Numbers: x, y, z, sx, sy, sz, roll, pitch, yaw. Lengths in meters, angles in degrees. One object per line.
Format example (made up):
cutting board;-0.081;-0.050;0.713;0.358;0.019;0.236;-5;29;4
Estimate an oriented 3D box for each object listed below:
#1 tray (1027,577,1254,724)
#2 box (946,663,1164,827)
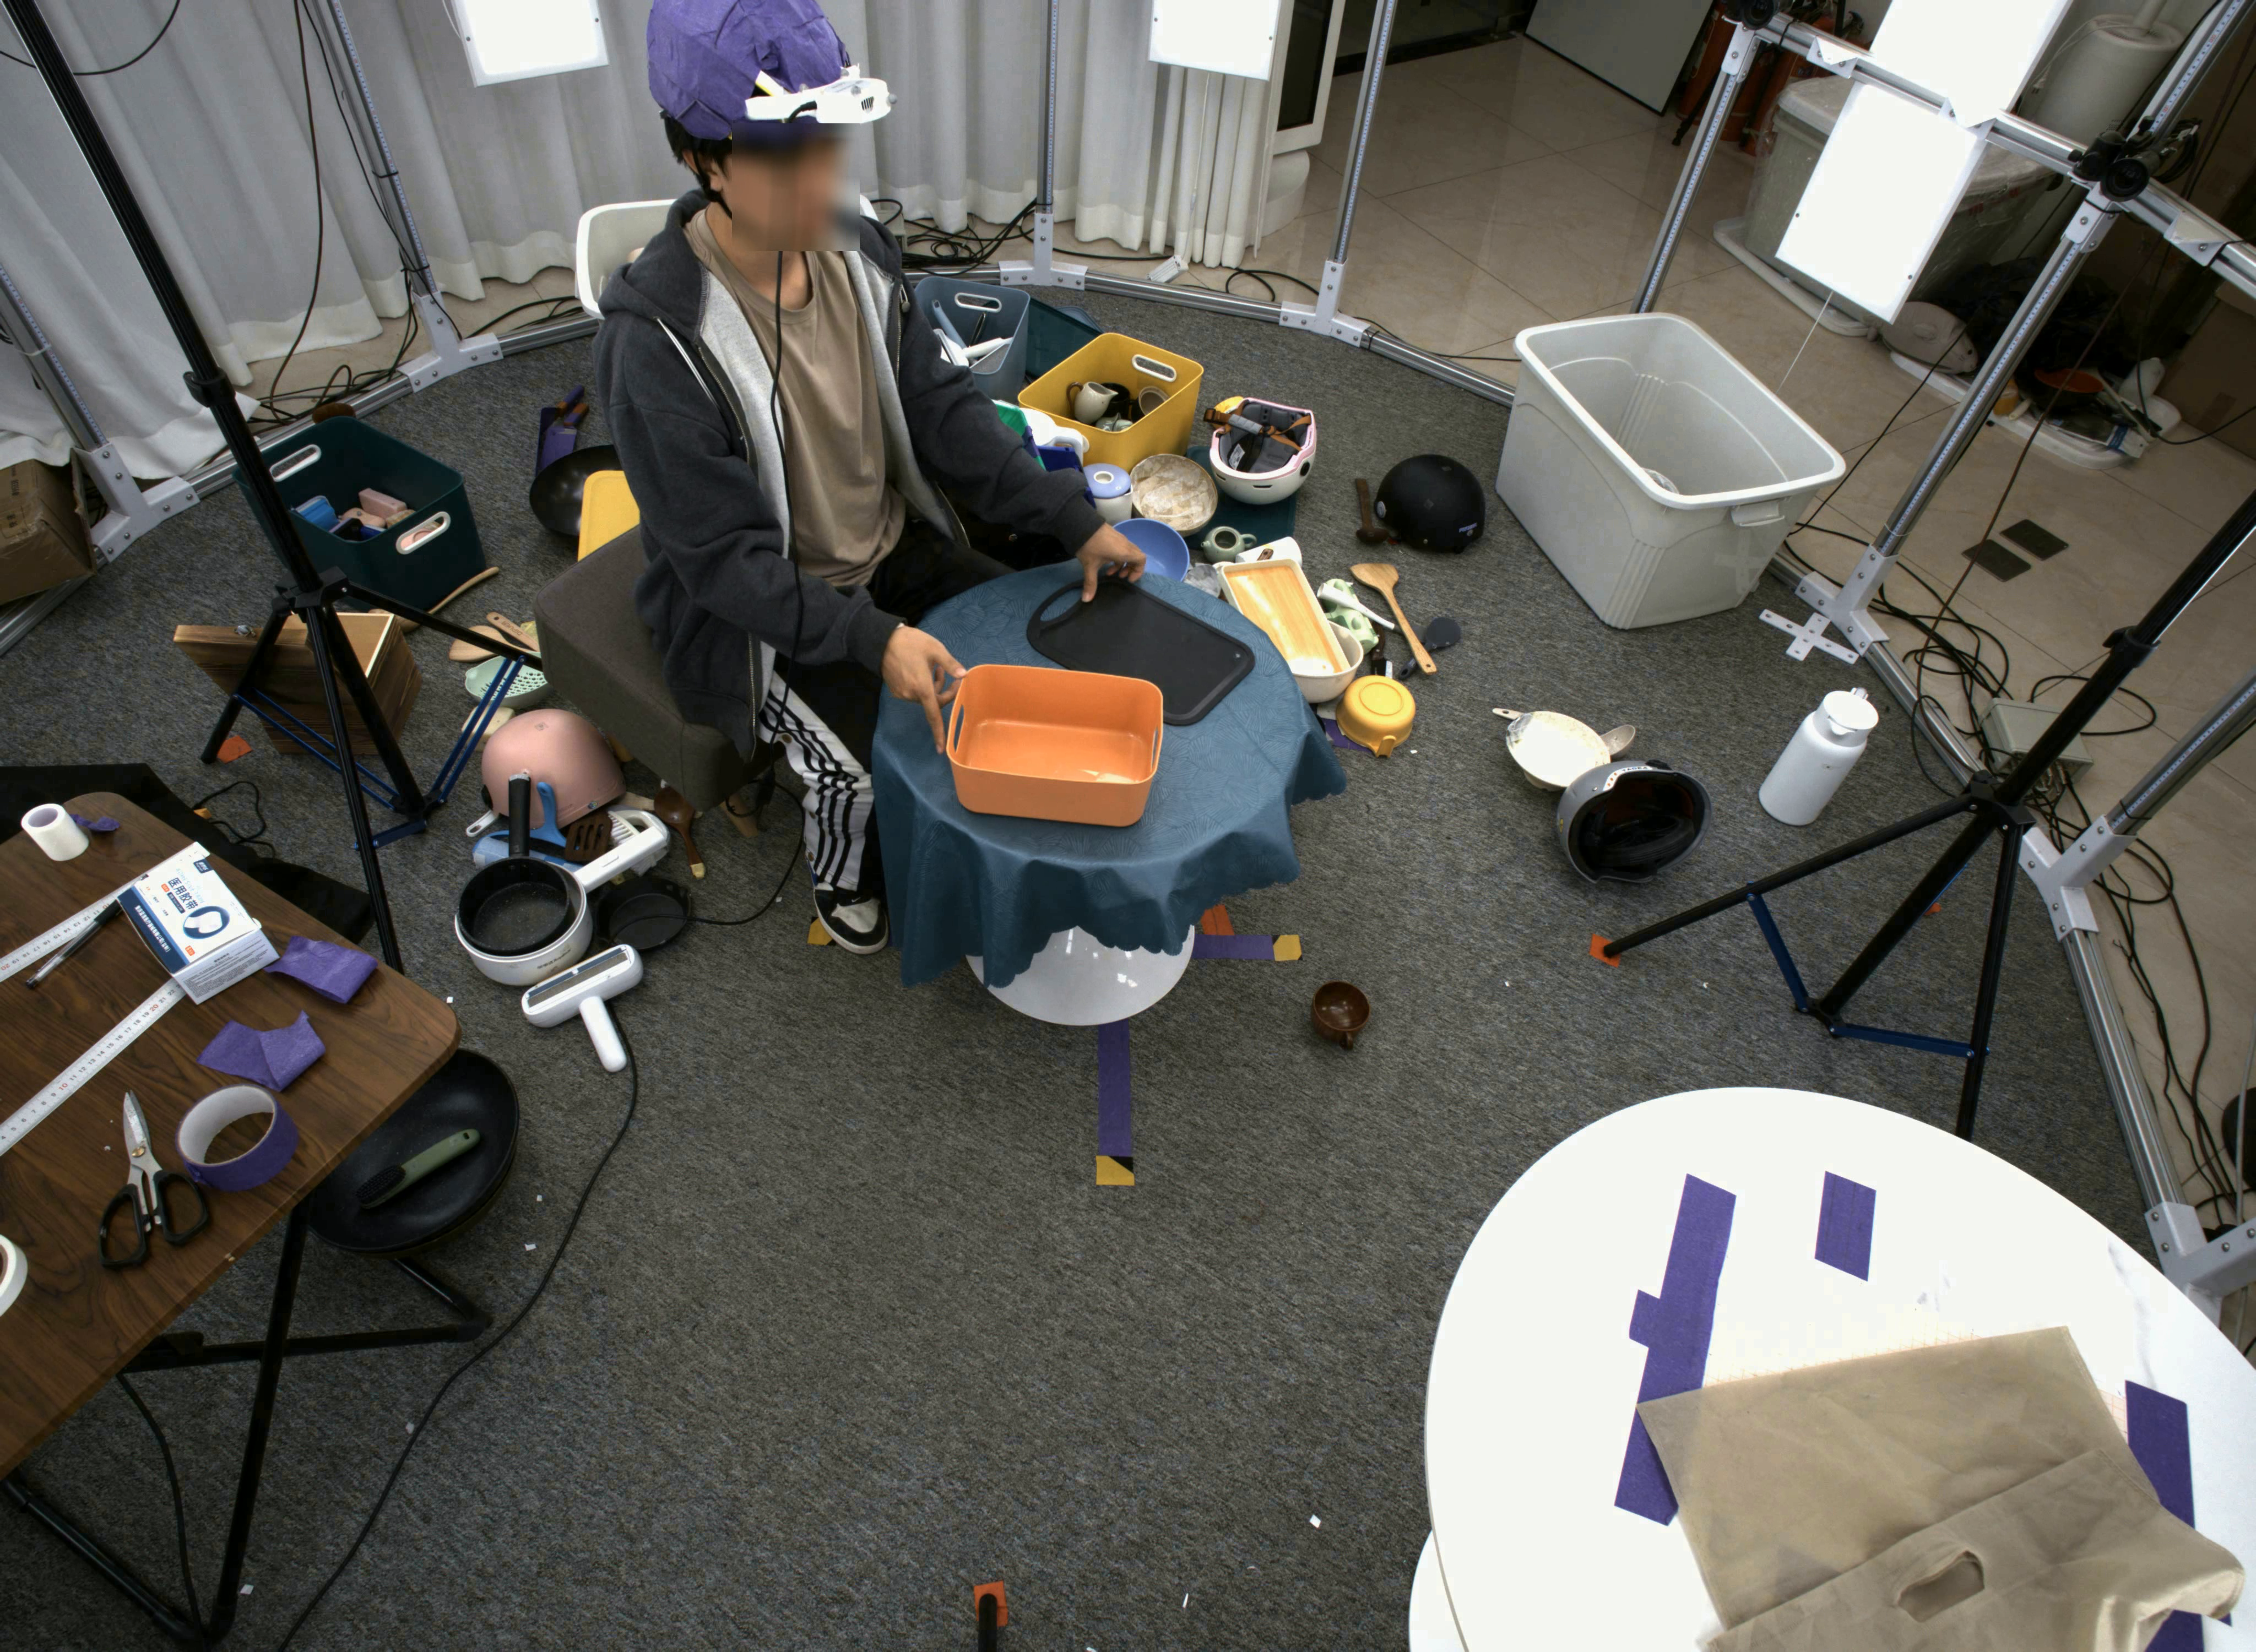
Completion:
tray;0.011;-0.269;1.897;0.329;0.009;0.214;31;53;21
box;-0.094;-0.104;1.682;0.273;0.100;0.204;6;49;0
